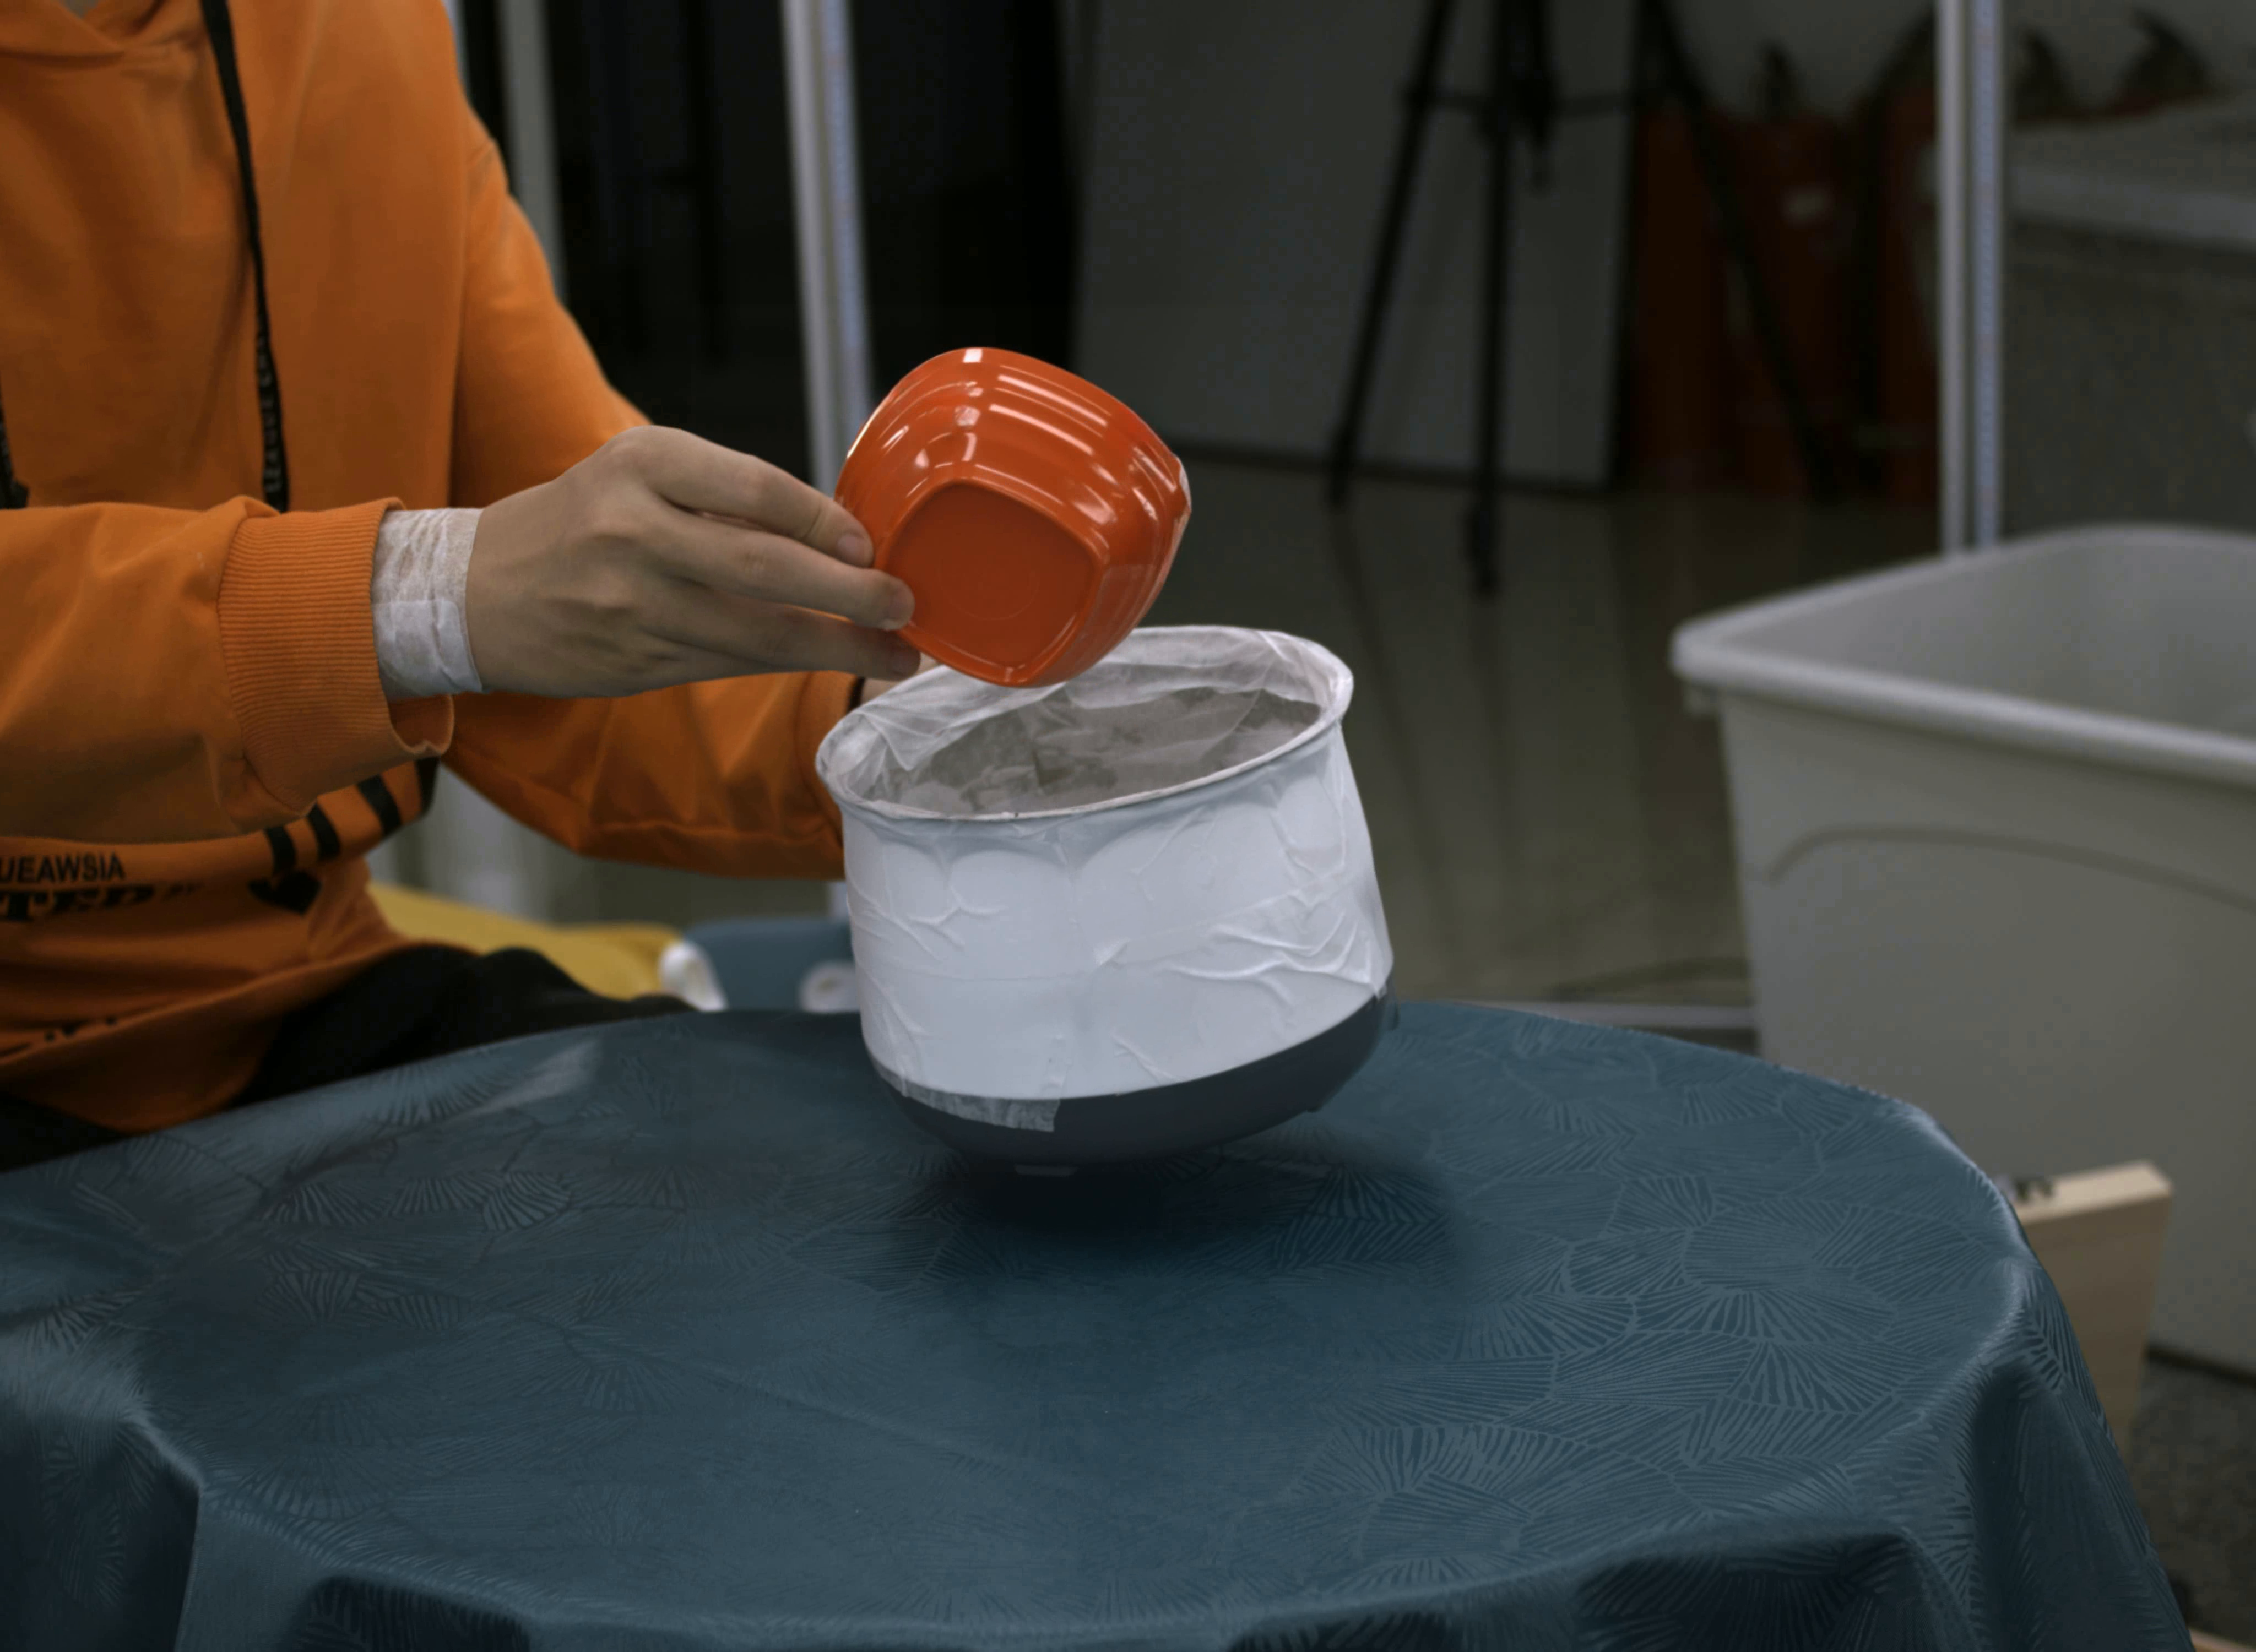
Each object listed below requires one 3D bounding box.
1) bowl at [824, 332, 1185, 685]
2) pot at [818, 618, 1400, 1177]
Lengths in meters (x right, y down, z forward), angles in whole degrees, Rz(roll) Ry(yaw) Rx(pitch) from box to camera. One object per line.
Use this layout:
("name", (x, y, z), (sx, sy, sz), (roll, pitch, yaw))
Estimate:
("bowl", (-0.042, -0.090, 1.692), (0.118, 0.119, 0.051), (-1, 31, 11))
("pot", (-0.013, 0.015, 1.780), (0.175, 0.138, 0.236), (-14, 19, -14))
